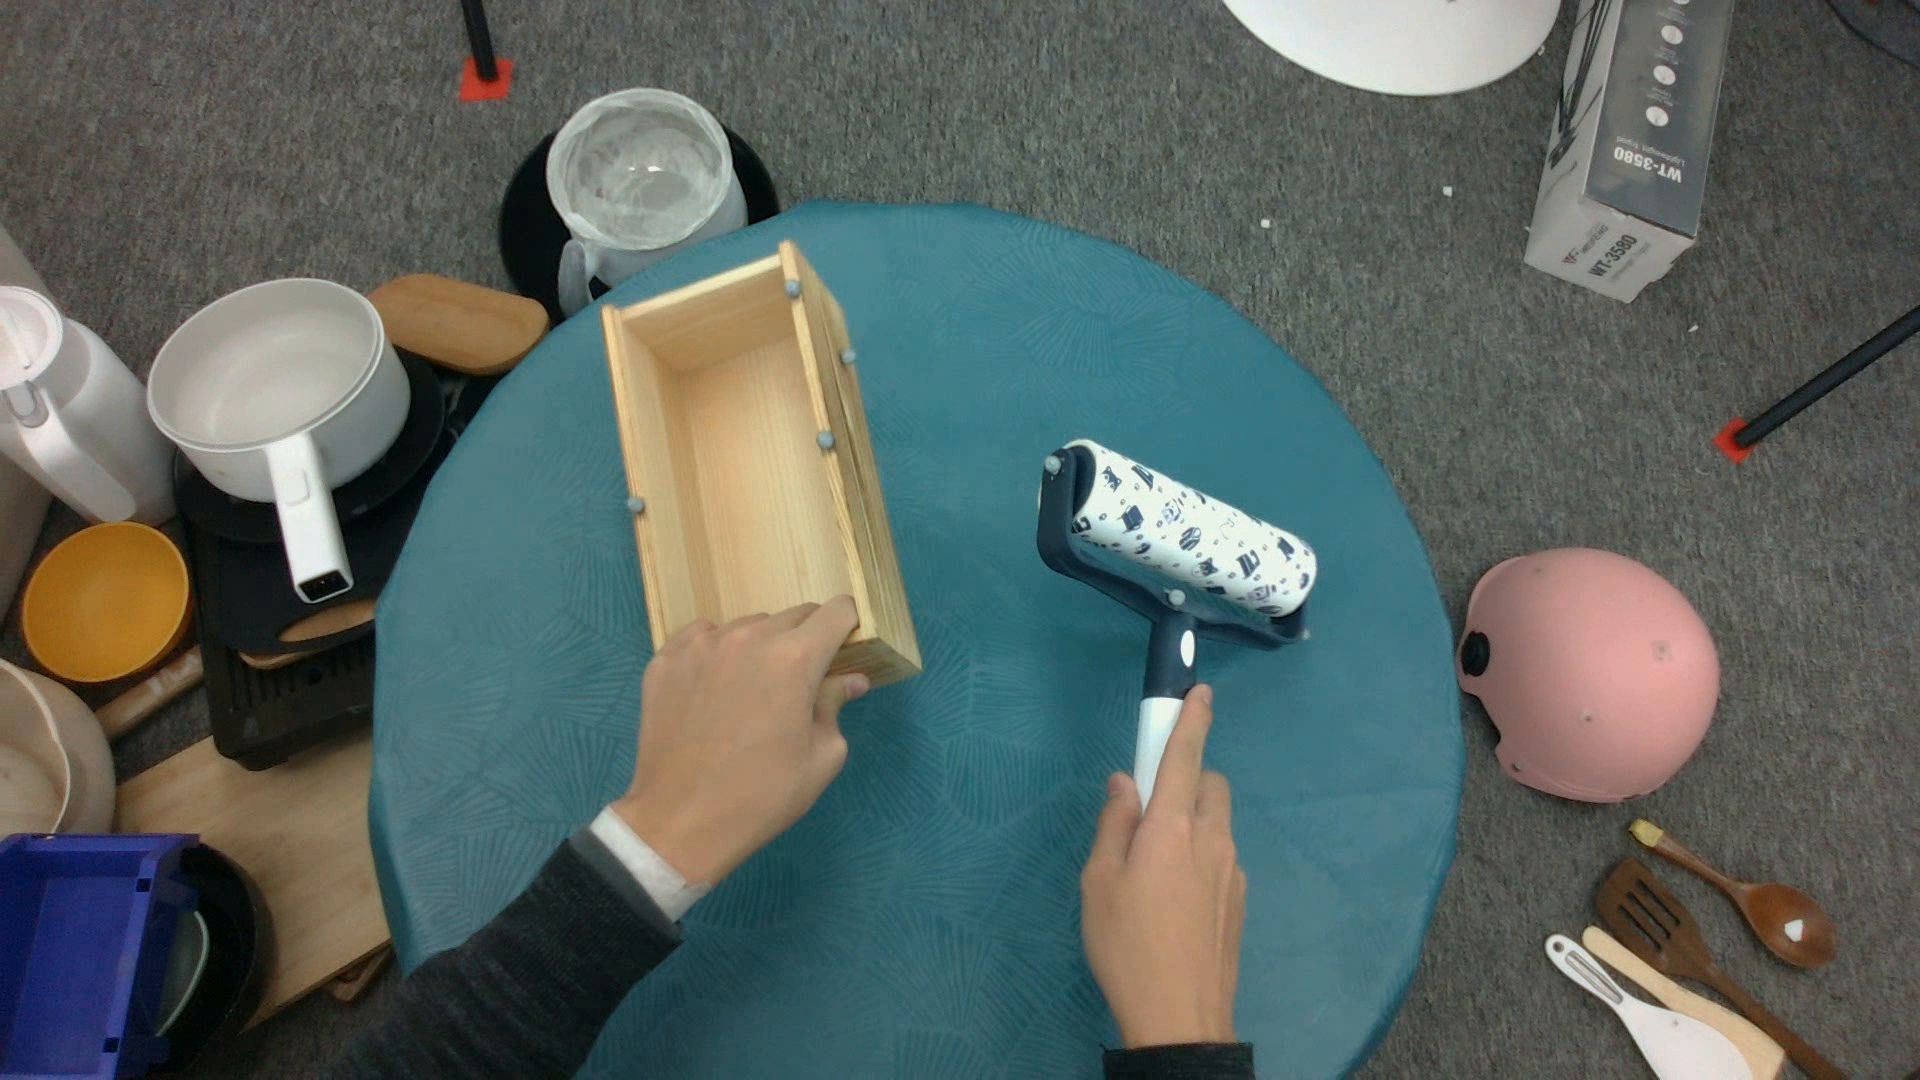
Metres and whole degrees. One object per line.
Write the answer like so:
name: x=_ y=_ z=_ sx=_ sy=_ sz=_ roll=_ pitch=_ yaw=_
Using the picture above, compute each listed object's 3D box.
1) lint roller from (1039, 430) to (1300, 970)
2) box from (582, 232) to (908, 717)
lint roller: x=0.103 y=0.085 z=0.684 sx=0.176 sy=0.050 sz=0.248 roll=22 pitch=64 yaw=-37
box: x=-0.109 y=-0.032 z=0.691 sx=0.107 sy=0.080 sz=0.212 roll=-18 pitch=69 yaw=8
